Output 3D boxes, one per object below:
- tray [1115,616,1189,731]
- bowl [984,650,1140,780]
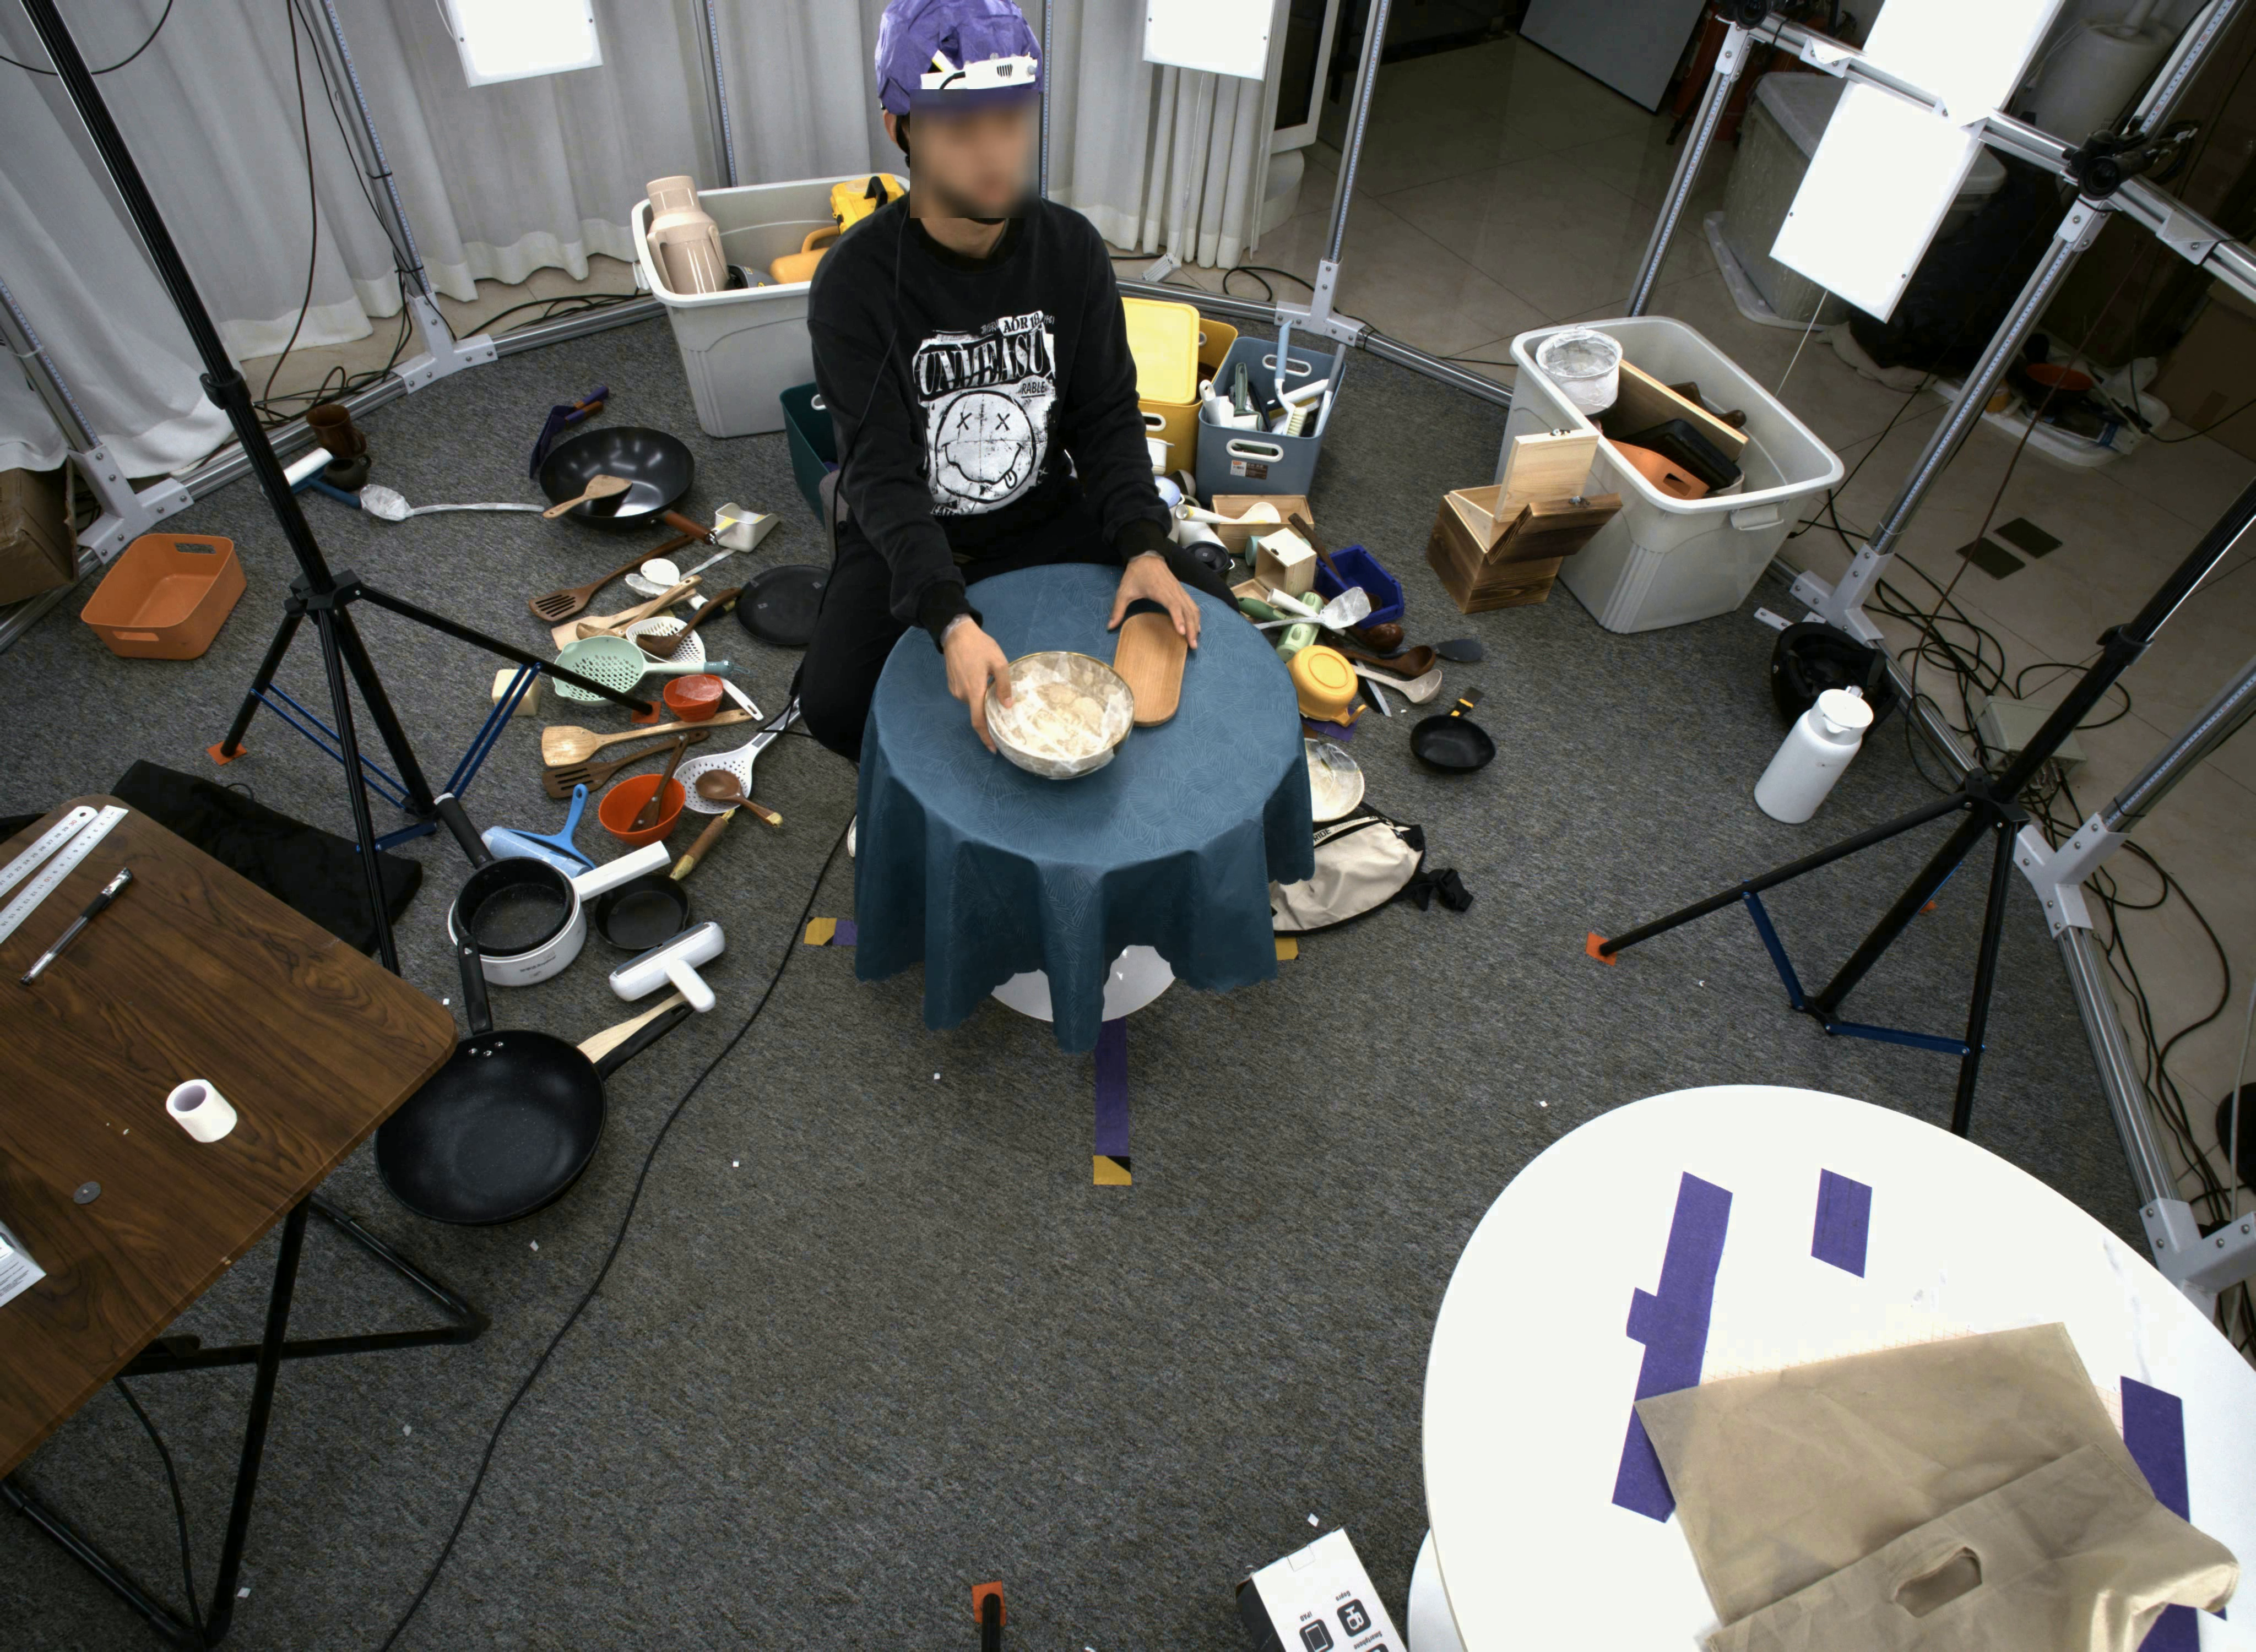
[{"bbox_3d":[0.032,-0.225,1.873,0.102,0.020,0.237,6,50,4],"label":"tray"},{"bbox_3d":[-0.089,-0.136,1.735,0.214,0.092,0.220,2,49,-2],"label":"bowl"}]
